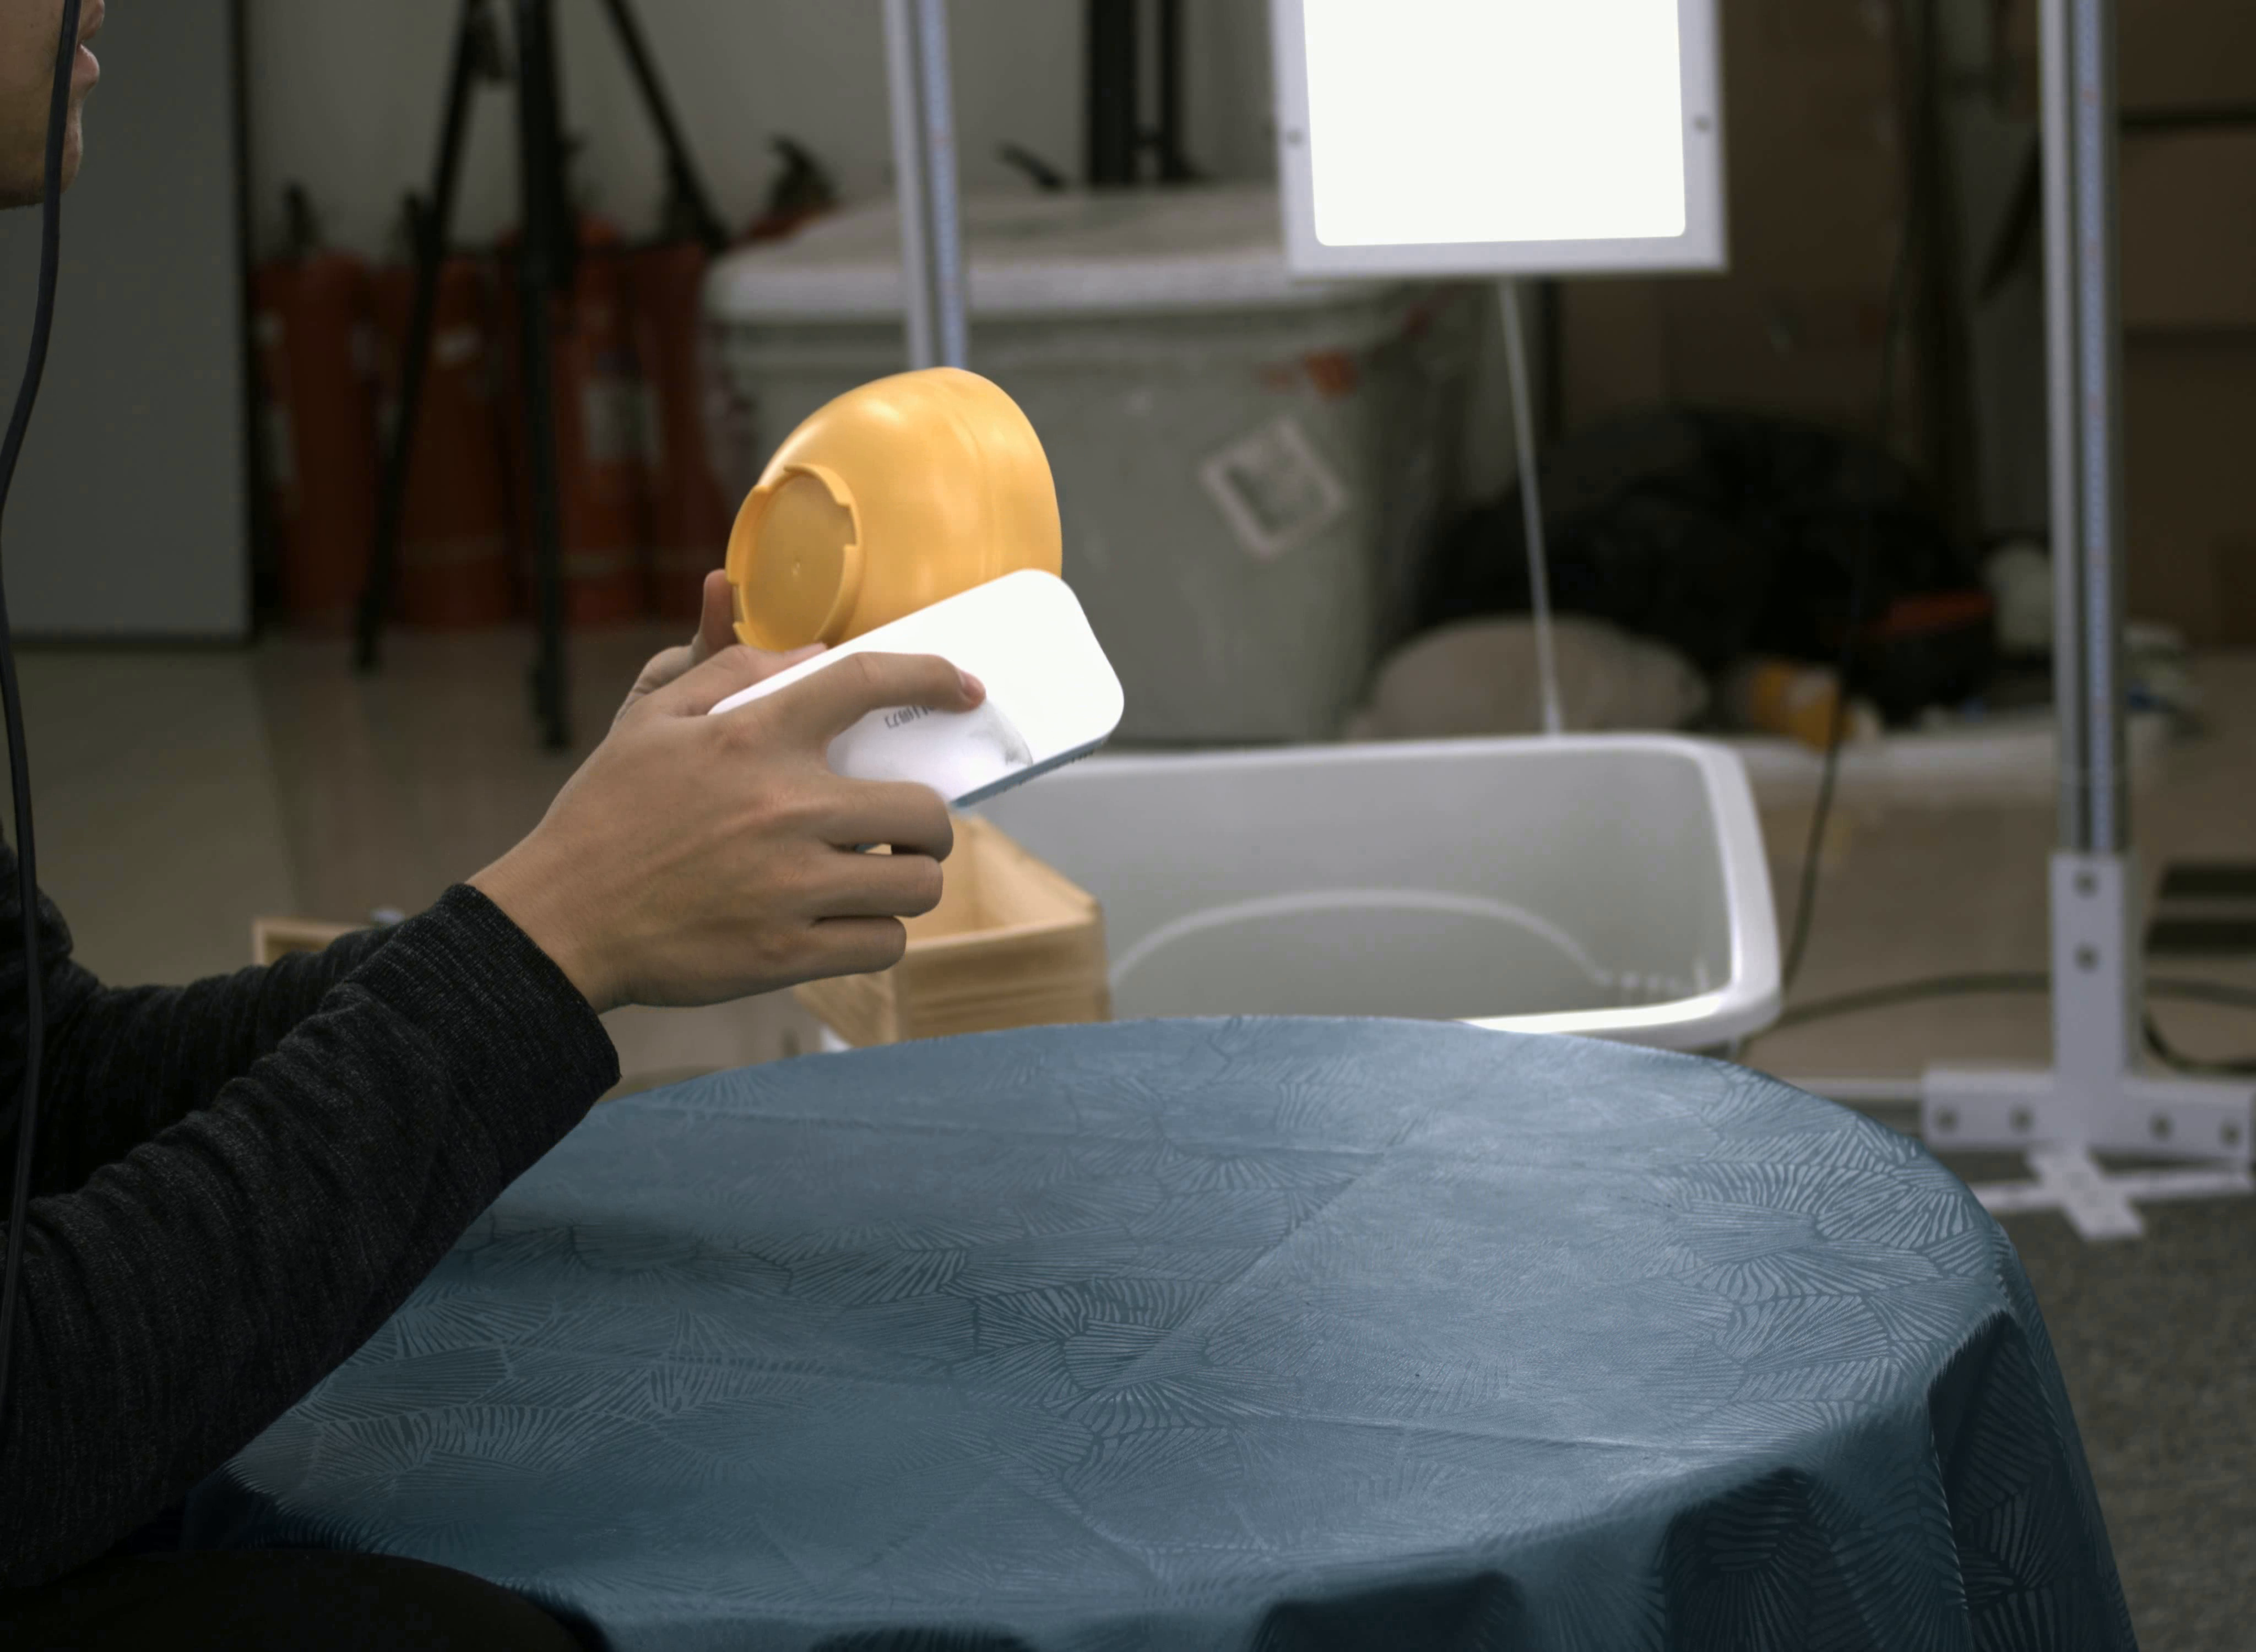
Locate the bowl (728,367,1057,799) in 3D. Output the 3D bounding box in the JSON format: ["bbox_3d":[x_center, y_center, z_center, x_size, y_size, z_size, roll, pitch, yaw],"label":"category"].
[{"bbox_3d":[-0.089,-0.081,1.799,0.058,0.146,0.148,5,5,-38],"label":"bowl"}]

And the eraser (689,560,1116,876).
[{"bbox_3d":[-0.071,-0.035,1.723,0.130,0.064,0.035,-24,-14,-11],"label":"eraser"}]
